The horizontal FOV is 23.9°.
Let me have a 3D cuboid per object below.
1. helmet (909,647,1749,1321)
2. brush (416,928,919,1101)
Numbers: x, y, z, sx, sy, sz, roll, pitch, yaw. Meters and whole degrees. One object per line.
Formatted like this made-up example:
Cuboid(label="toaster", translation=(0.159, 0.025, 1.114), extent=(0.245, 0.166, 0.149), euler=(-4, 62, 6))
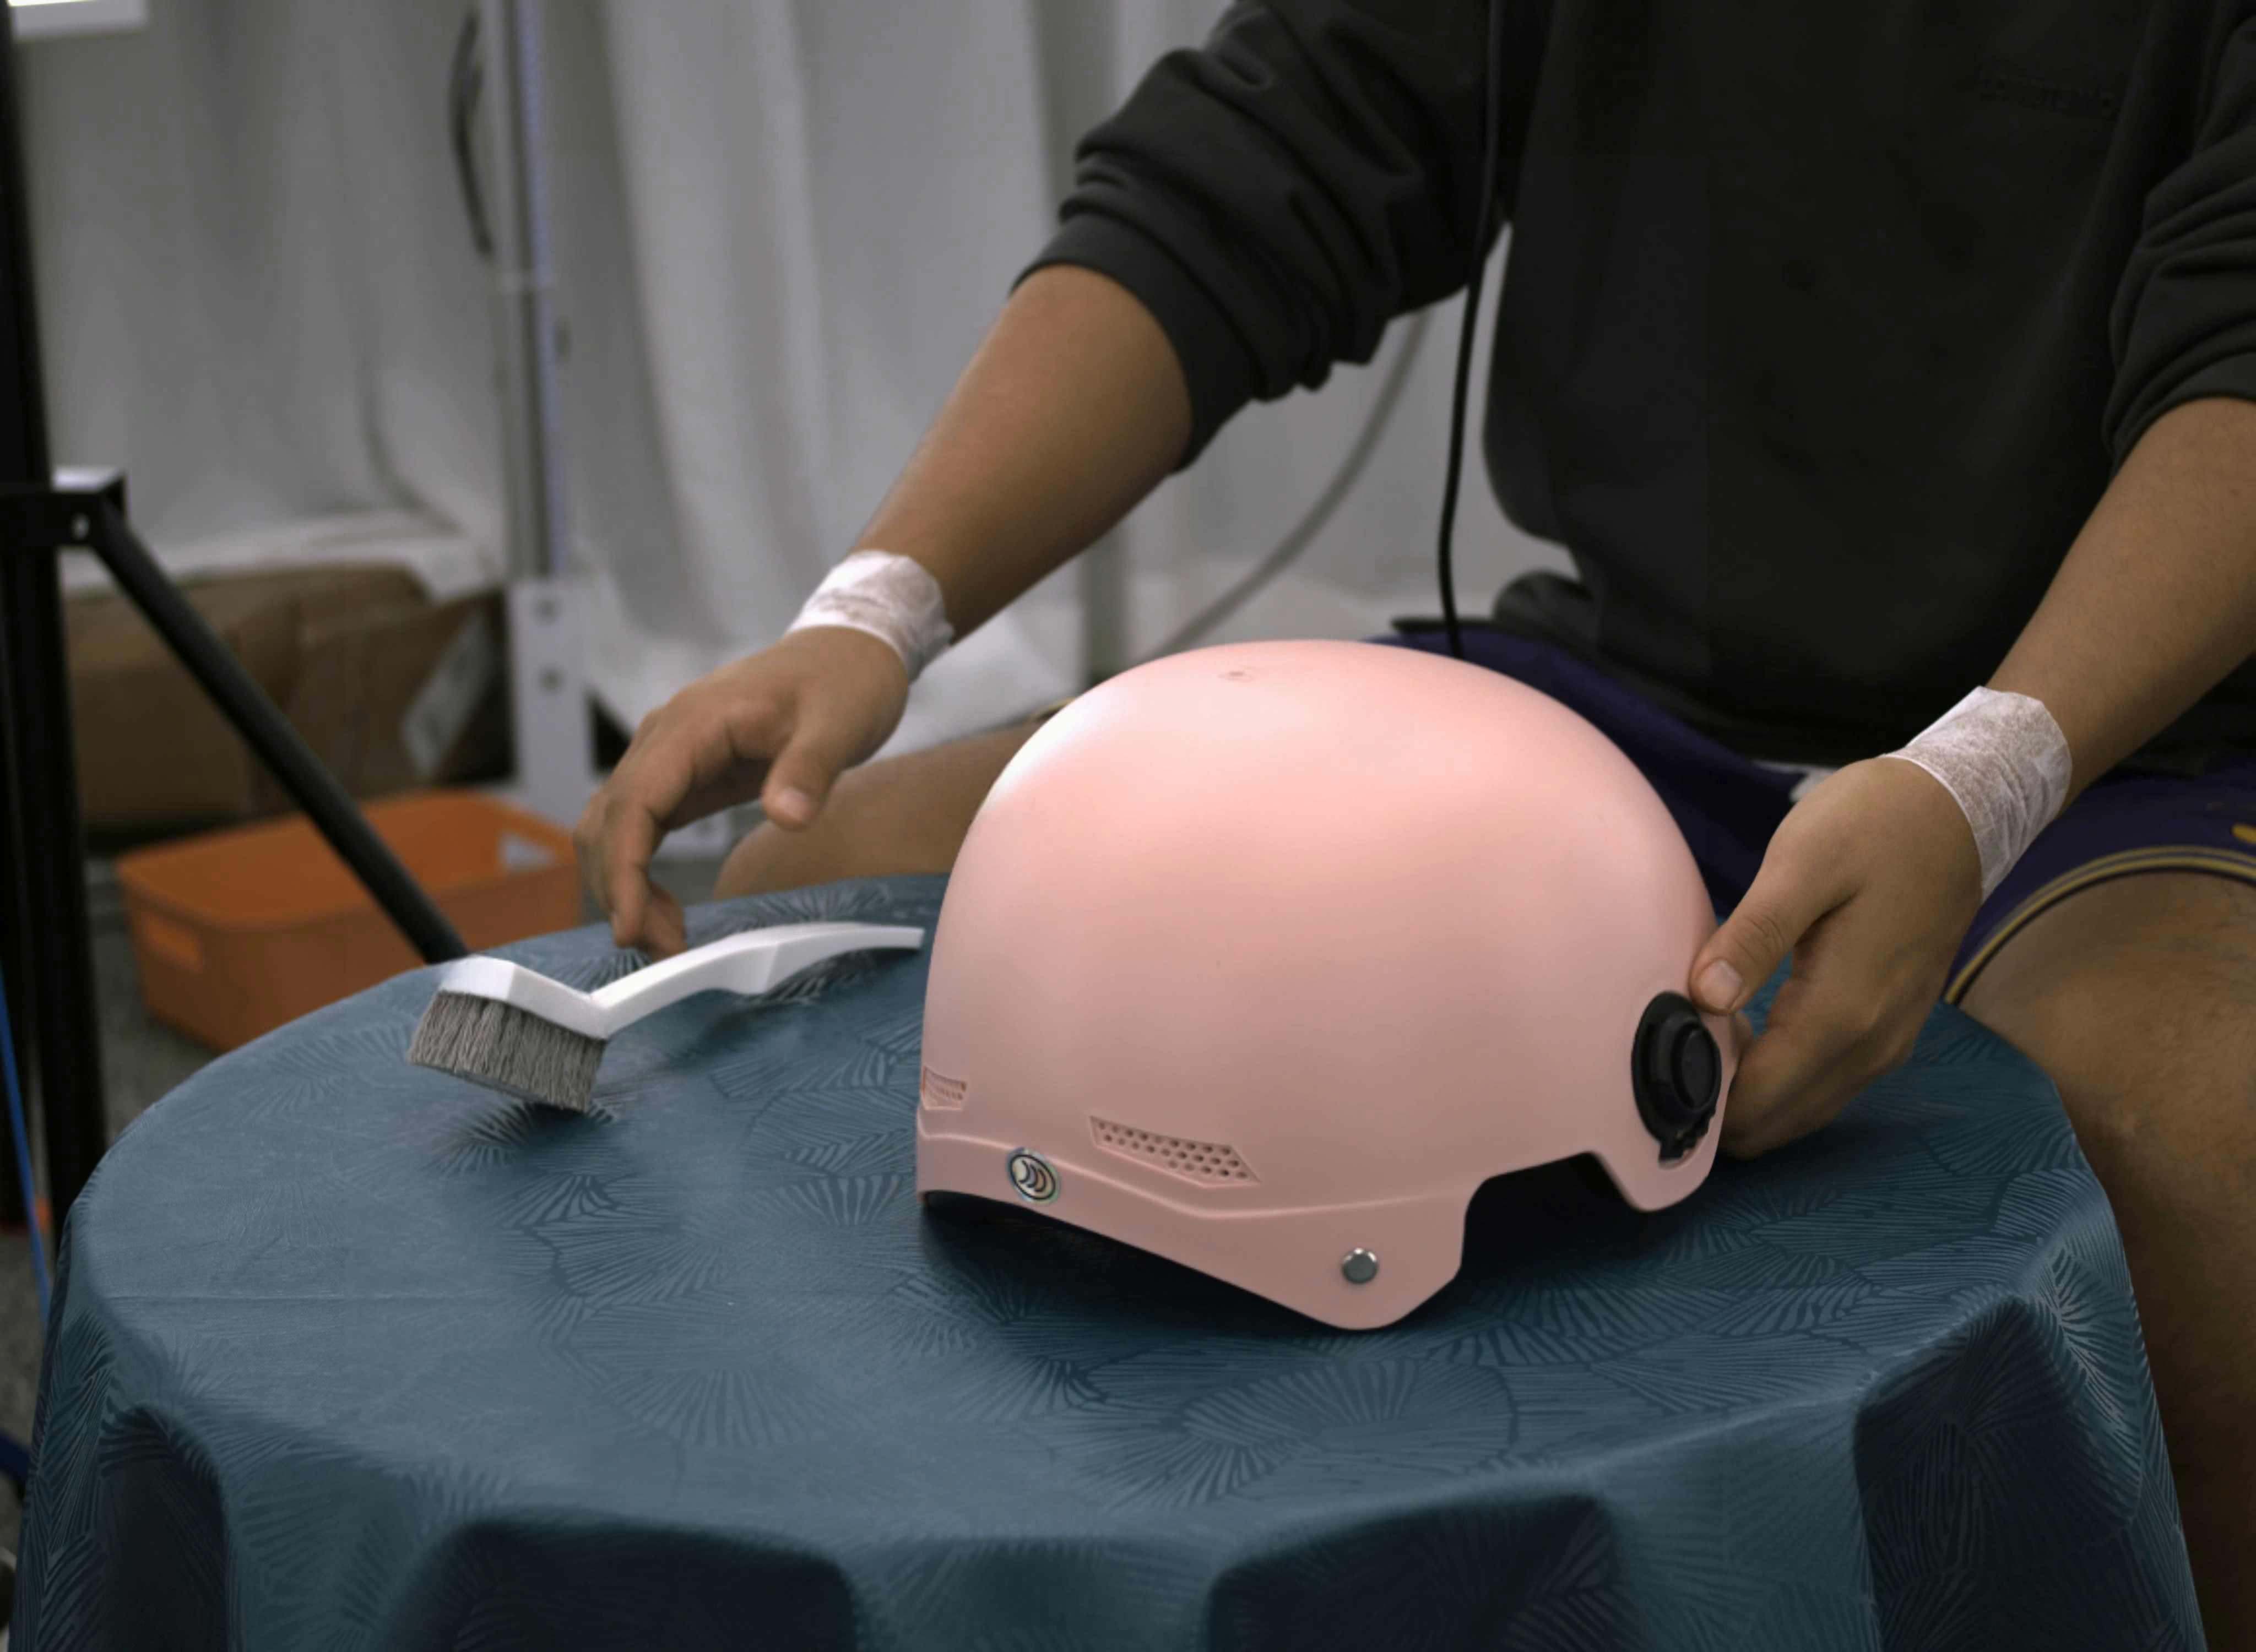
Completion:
Cuboid(label="helmet", translation=(0.059, 0.027, 1.536), extent=(0.239, 0.159, 0.260), euler=(11, 21, 44))
Cuboid(label="brush", translation=(-0.142, 0.060, 1.714), extent=(0.035, 0.050, 0.238), euler=(3, 3, 32))
